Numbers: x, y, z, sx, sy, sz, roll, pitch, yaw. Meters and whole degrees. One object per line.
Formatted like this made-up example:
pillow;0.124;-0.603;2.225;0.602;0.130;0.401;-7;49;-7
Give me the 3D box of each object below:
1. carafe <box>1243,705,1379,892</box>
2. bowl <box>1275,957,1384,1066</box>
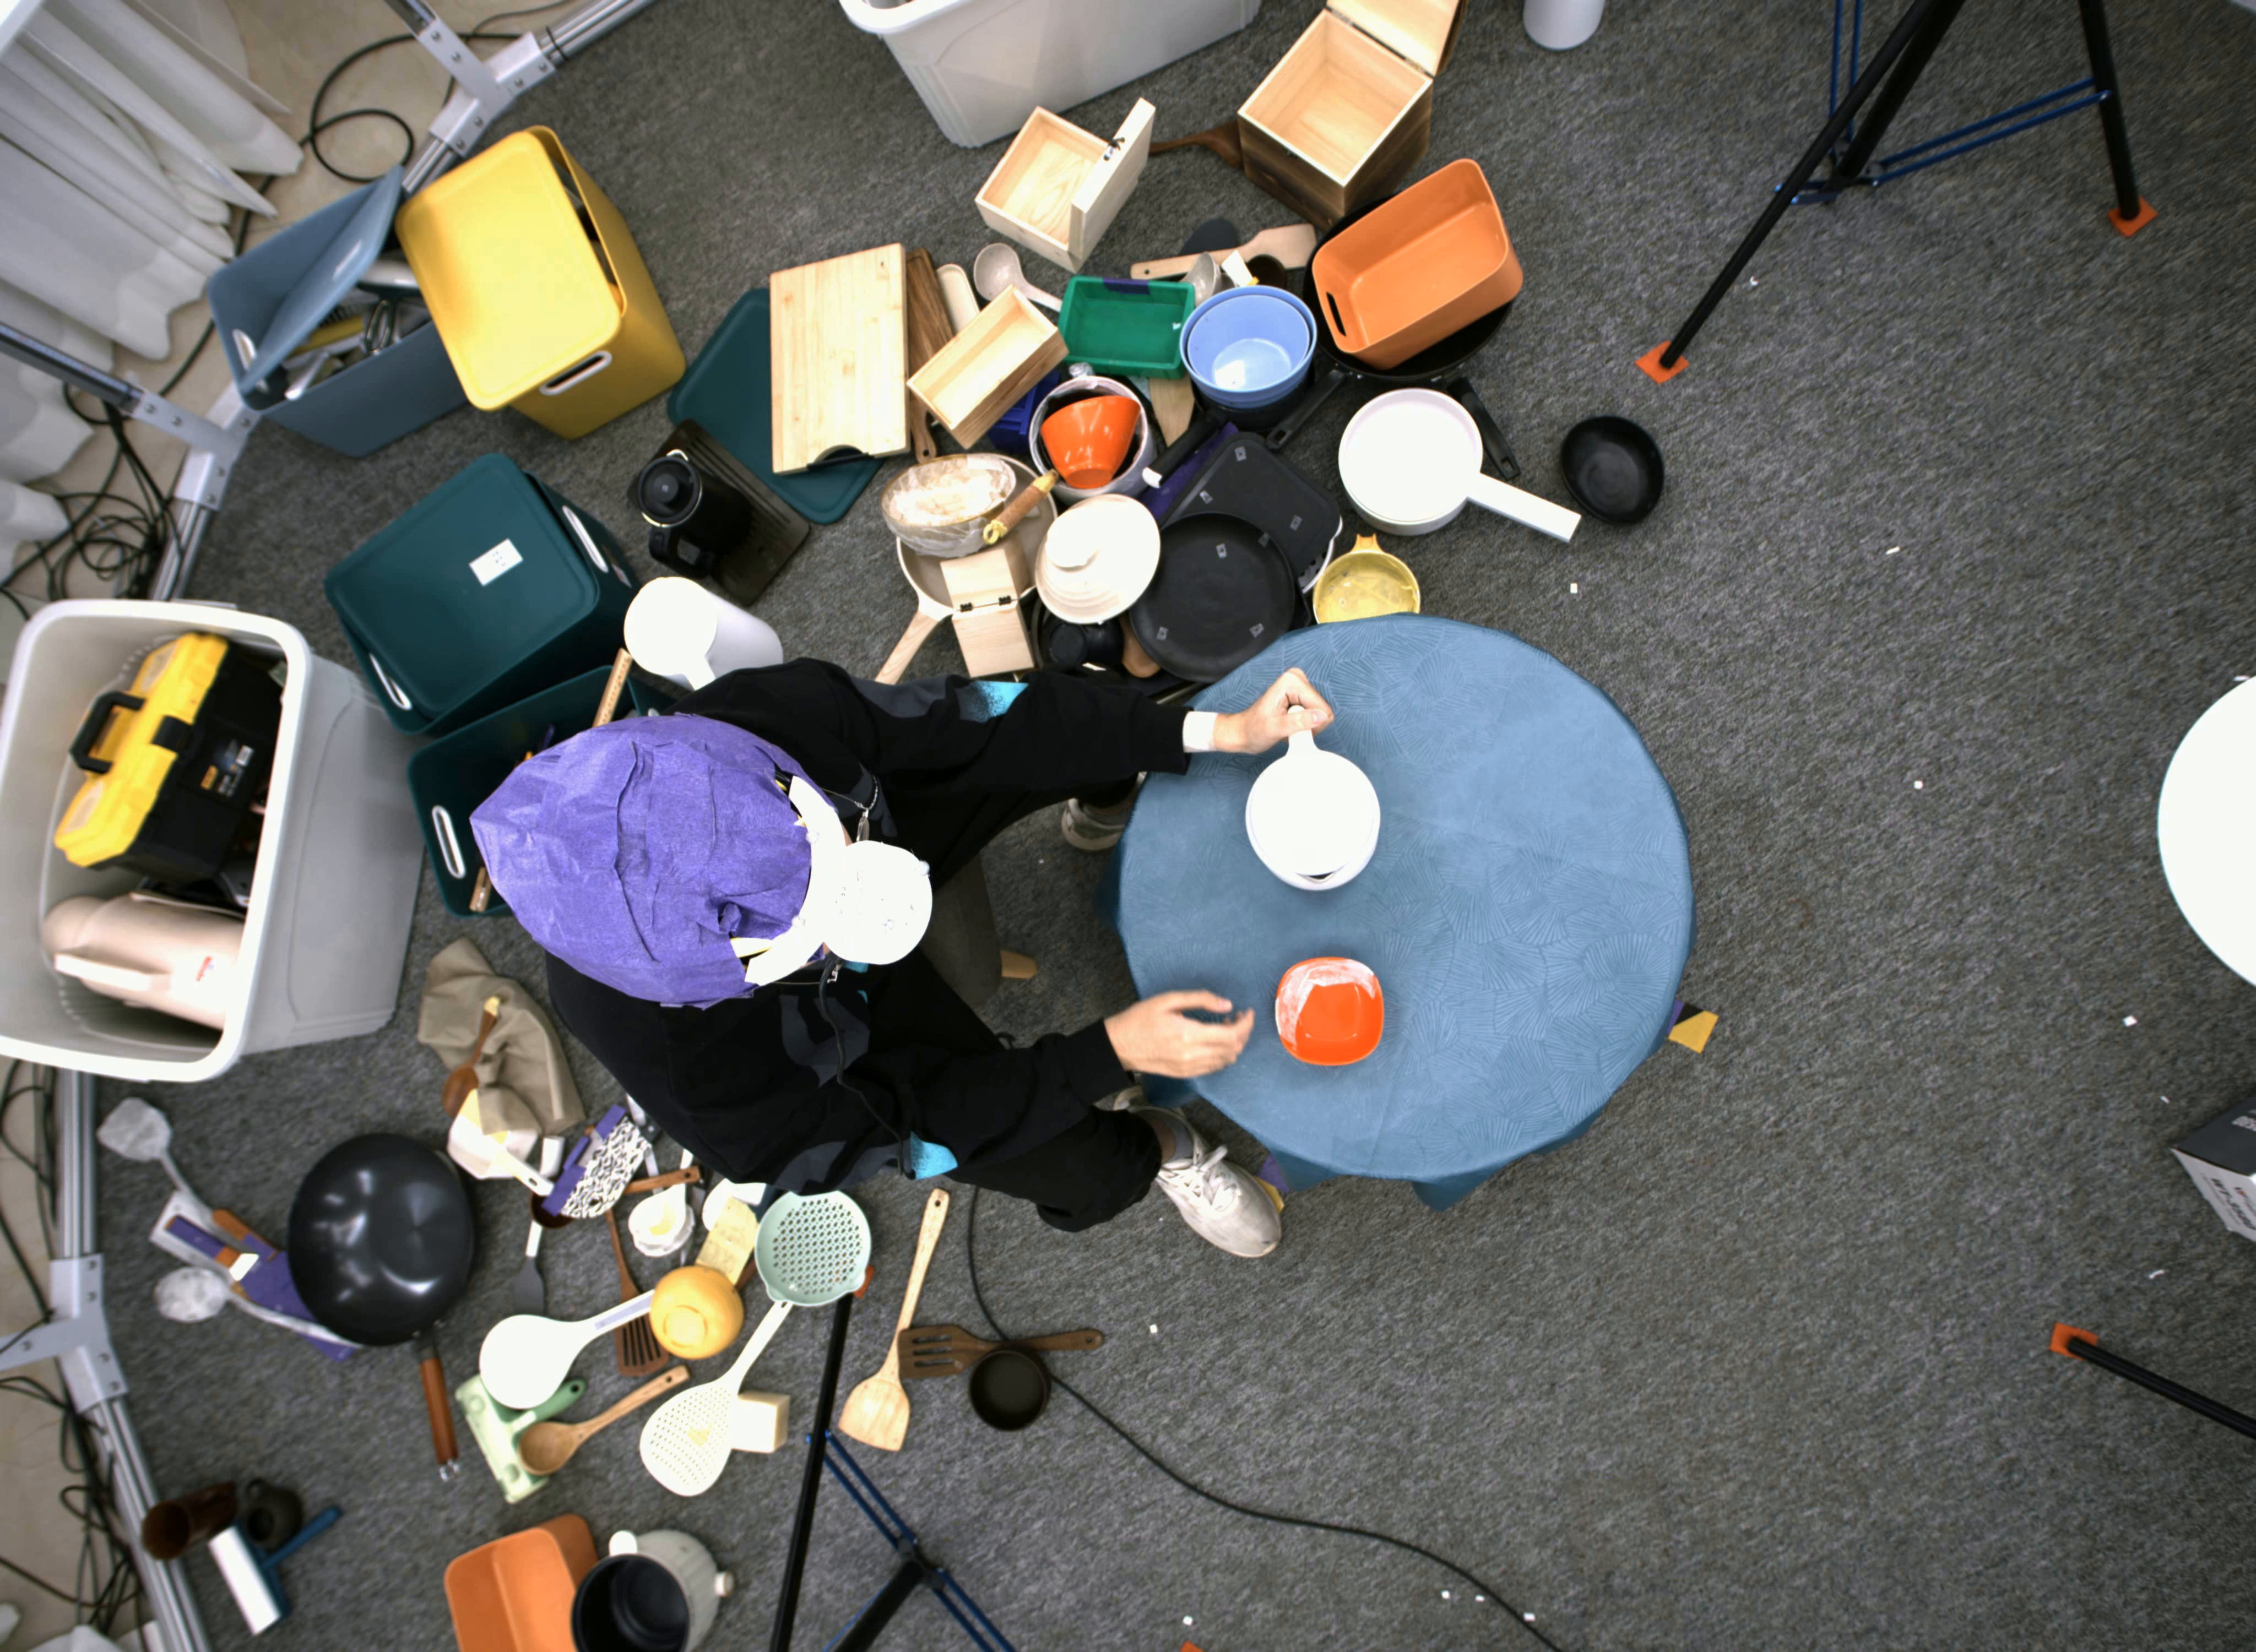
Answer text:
carafe;0.181;-0.028;1.390;0.133;0.183;0.189;-11;82;7
bowl;0.208;0.189;1.434;0.119;0.051;0.118;0;88;8
